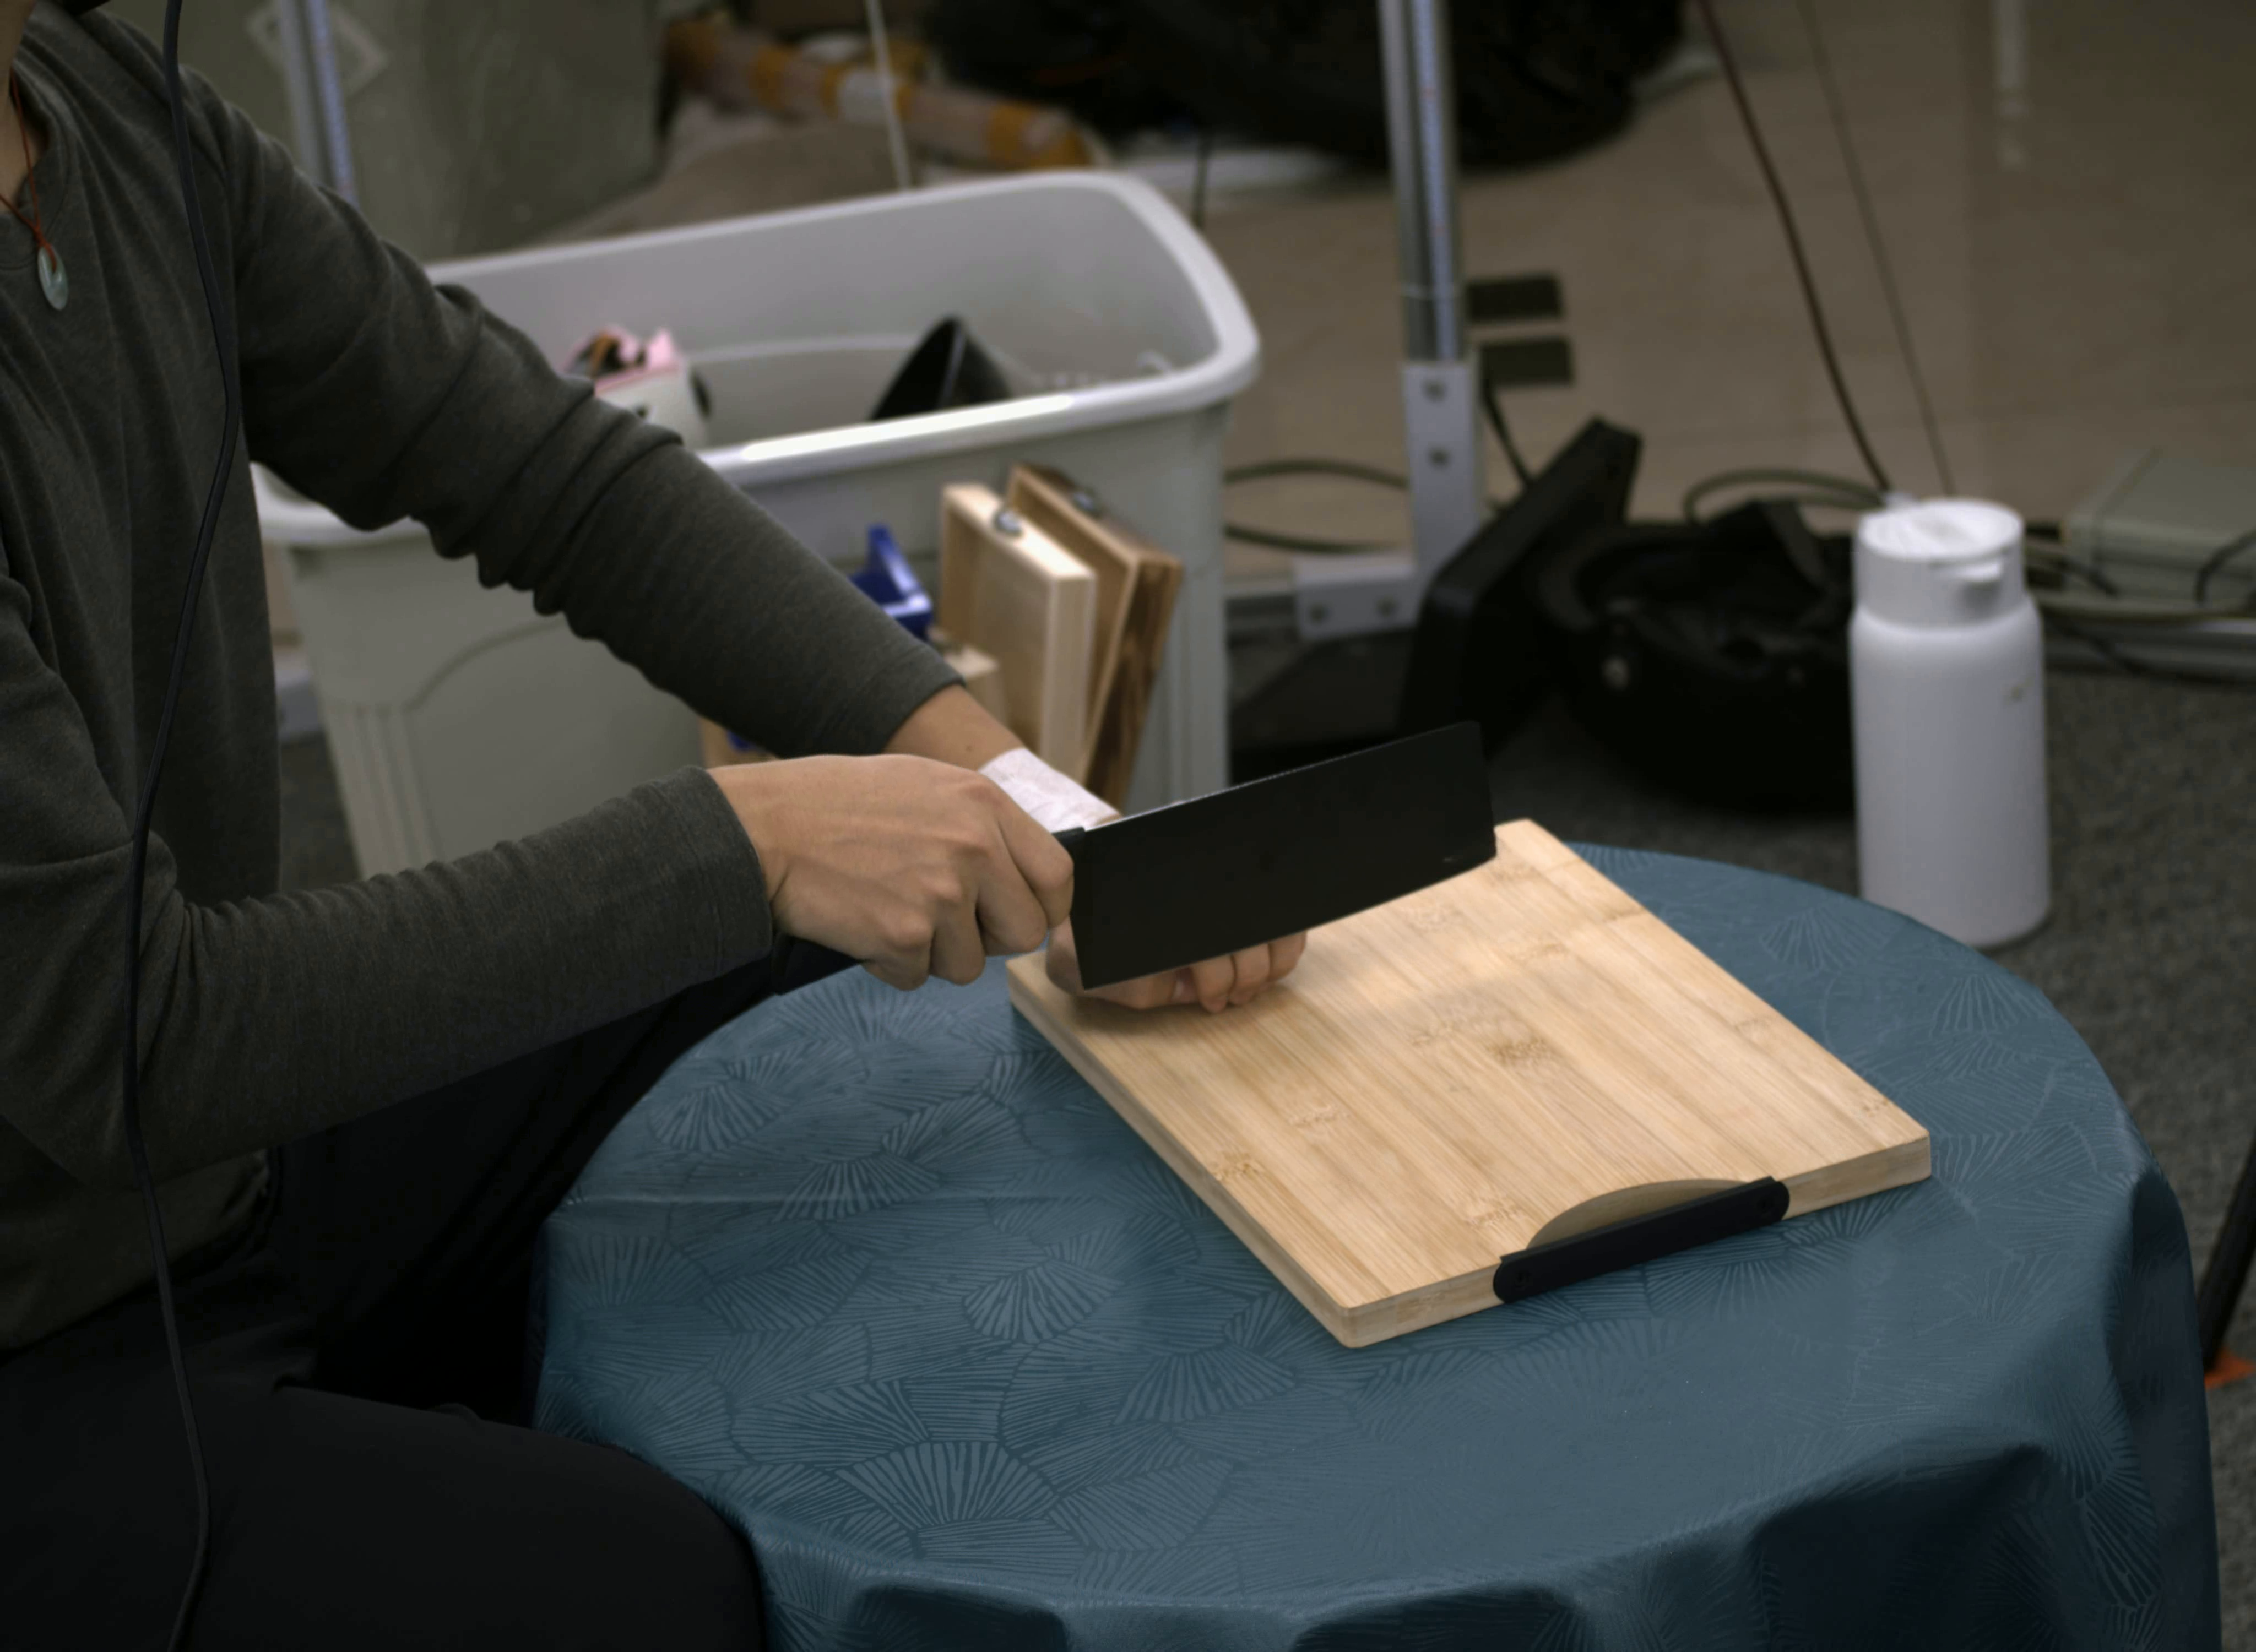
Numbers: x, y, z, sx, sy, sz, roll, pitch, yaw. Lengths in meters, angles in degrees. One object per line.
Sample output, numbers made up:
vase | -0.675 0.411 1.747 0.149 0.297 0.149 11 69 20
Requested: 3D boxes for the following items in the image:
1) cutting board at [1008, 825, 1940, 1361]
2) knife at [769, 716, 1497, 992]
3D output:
cutting board | 0.125 0.095 2.197 0.250 0.024 0.344 -16 26 -18
knife | 0.005 0.021 2.191 0.301 0.082 0.020 -12 20 -18
